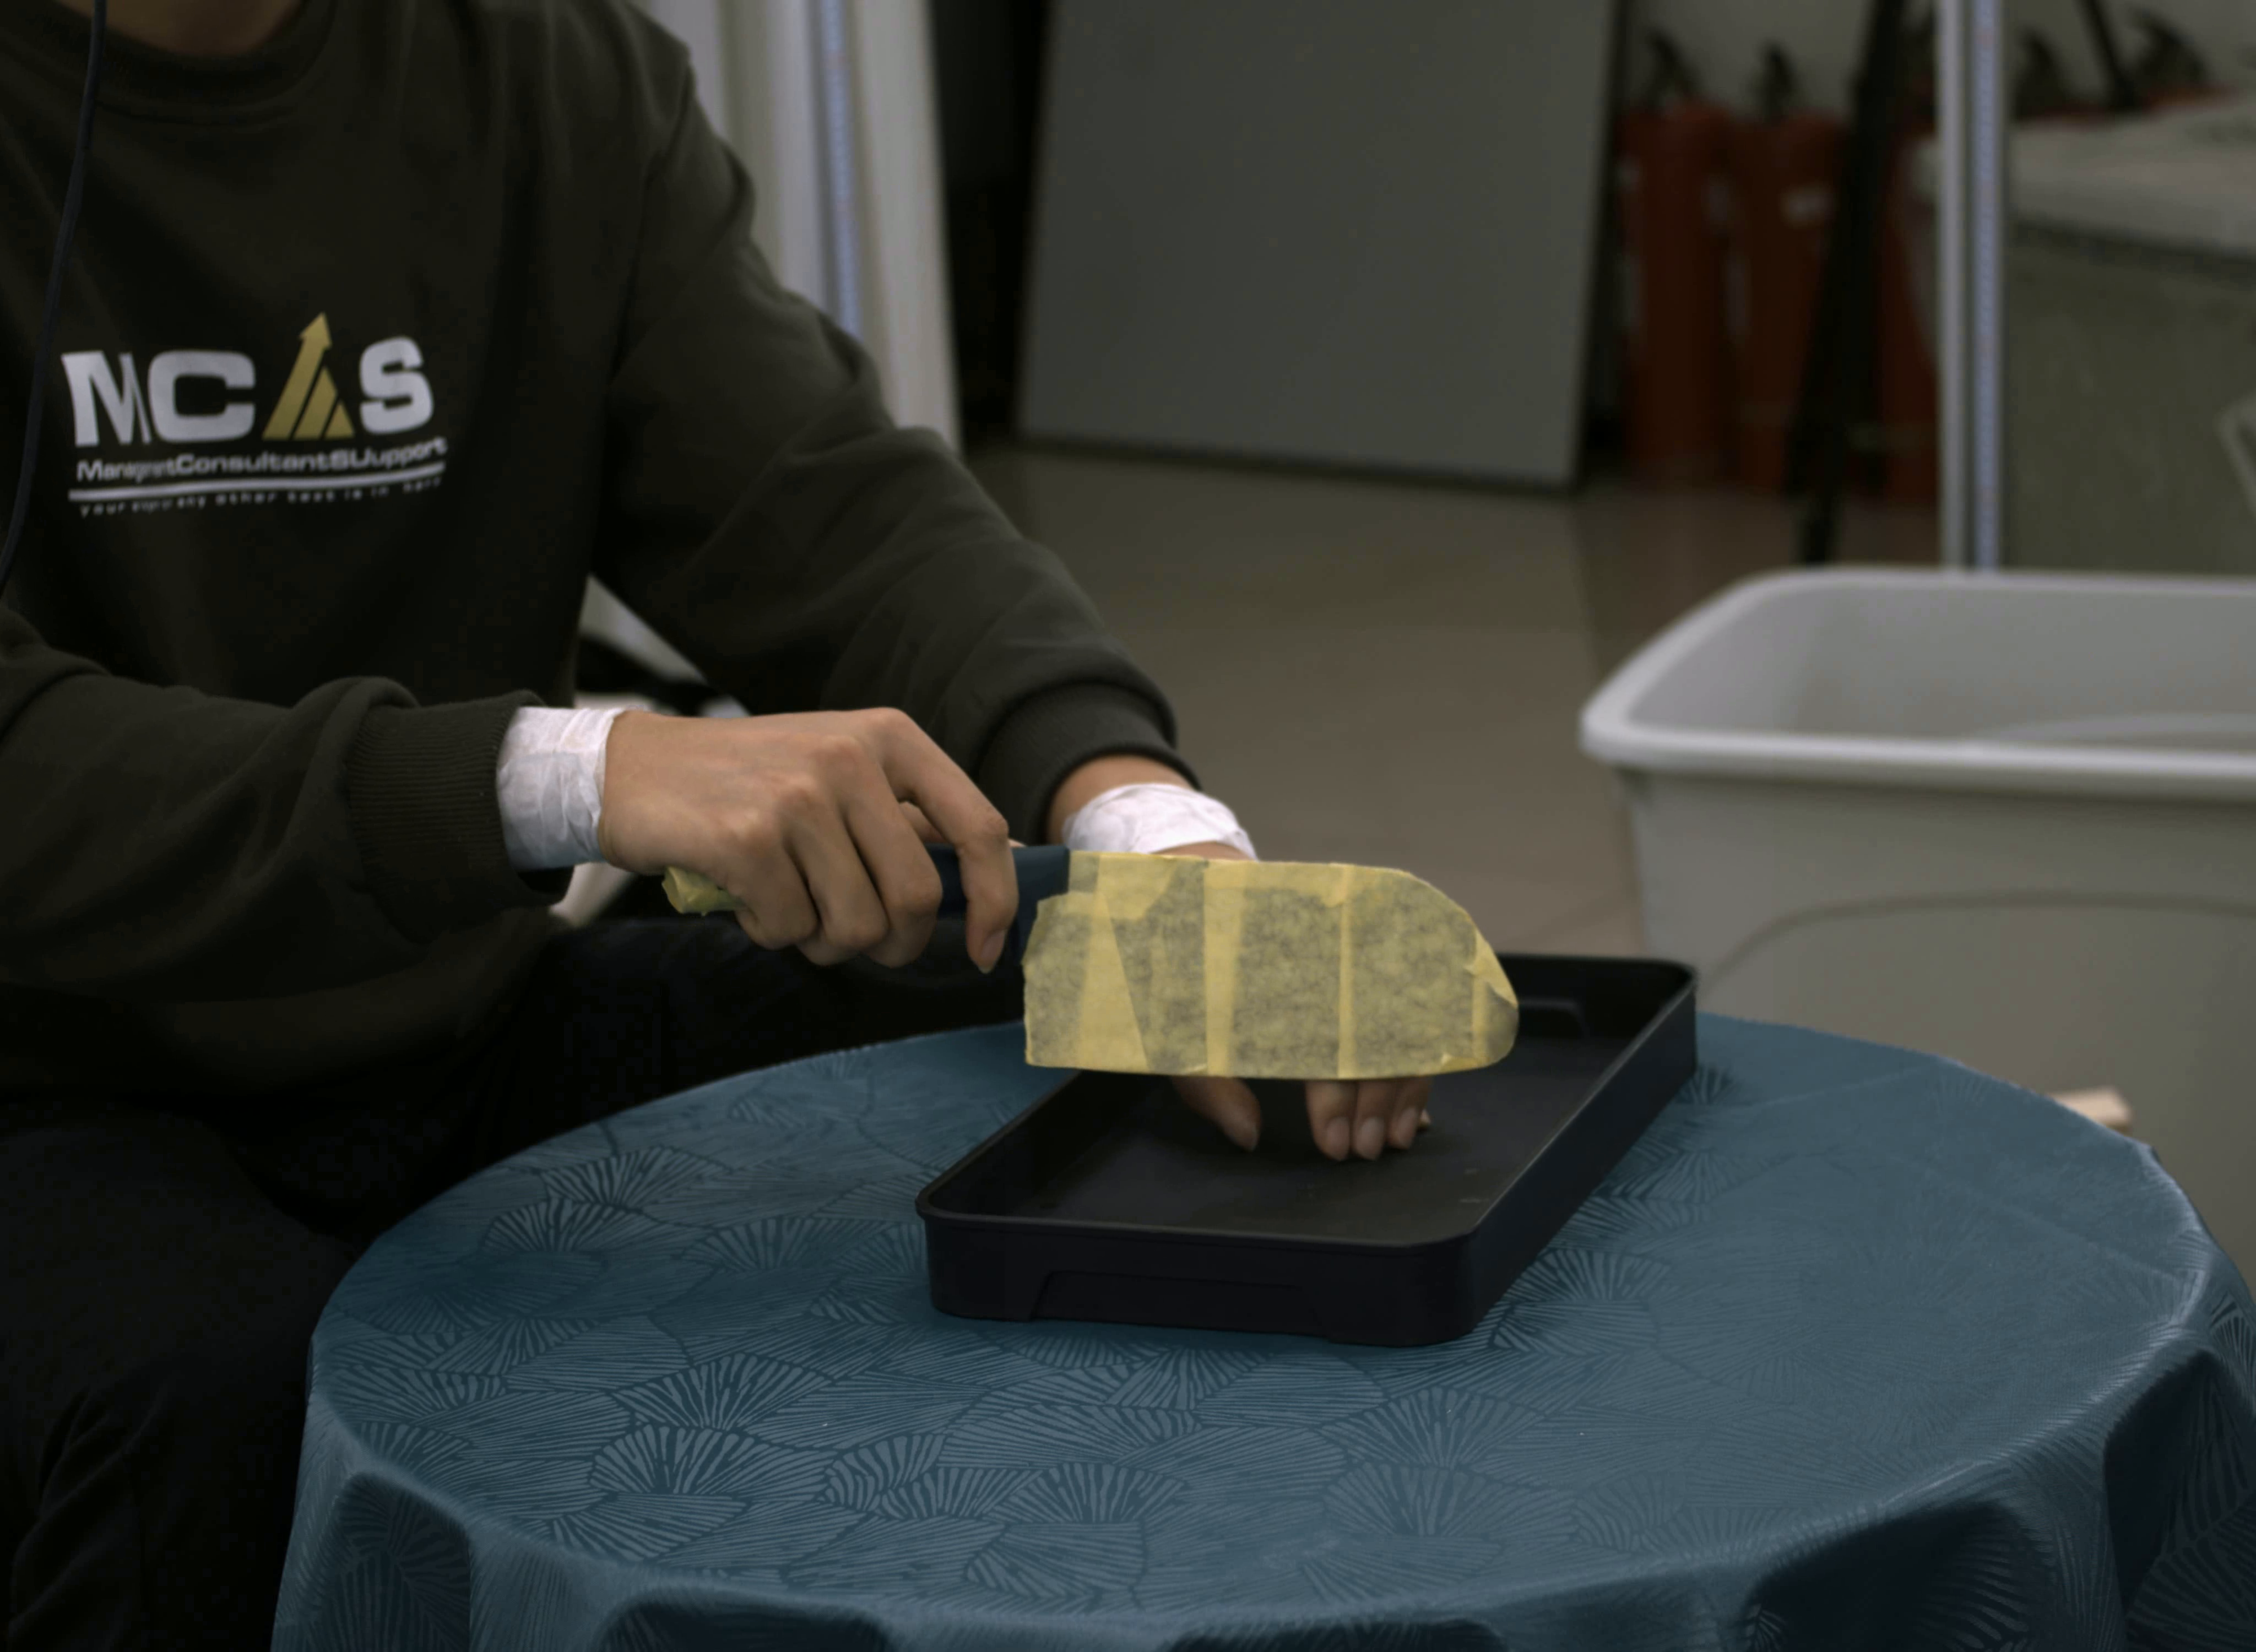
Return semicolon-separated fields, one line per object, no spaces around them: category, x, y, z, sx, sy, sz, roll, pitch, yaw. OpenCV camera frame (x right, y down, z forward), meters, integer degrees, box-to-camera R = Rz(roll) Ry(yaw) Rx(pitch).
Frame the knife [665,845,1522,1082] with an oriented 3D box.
knife;-0.009;0.043;1.759;0.284;0.082;0.027;5;-14;-7

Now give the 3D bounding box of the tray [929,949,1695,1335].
tray;0.069;0.097;1.772;0.184;0.037;0.315;1;14;20
